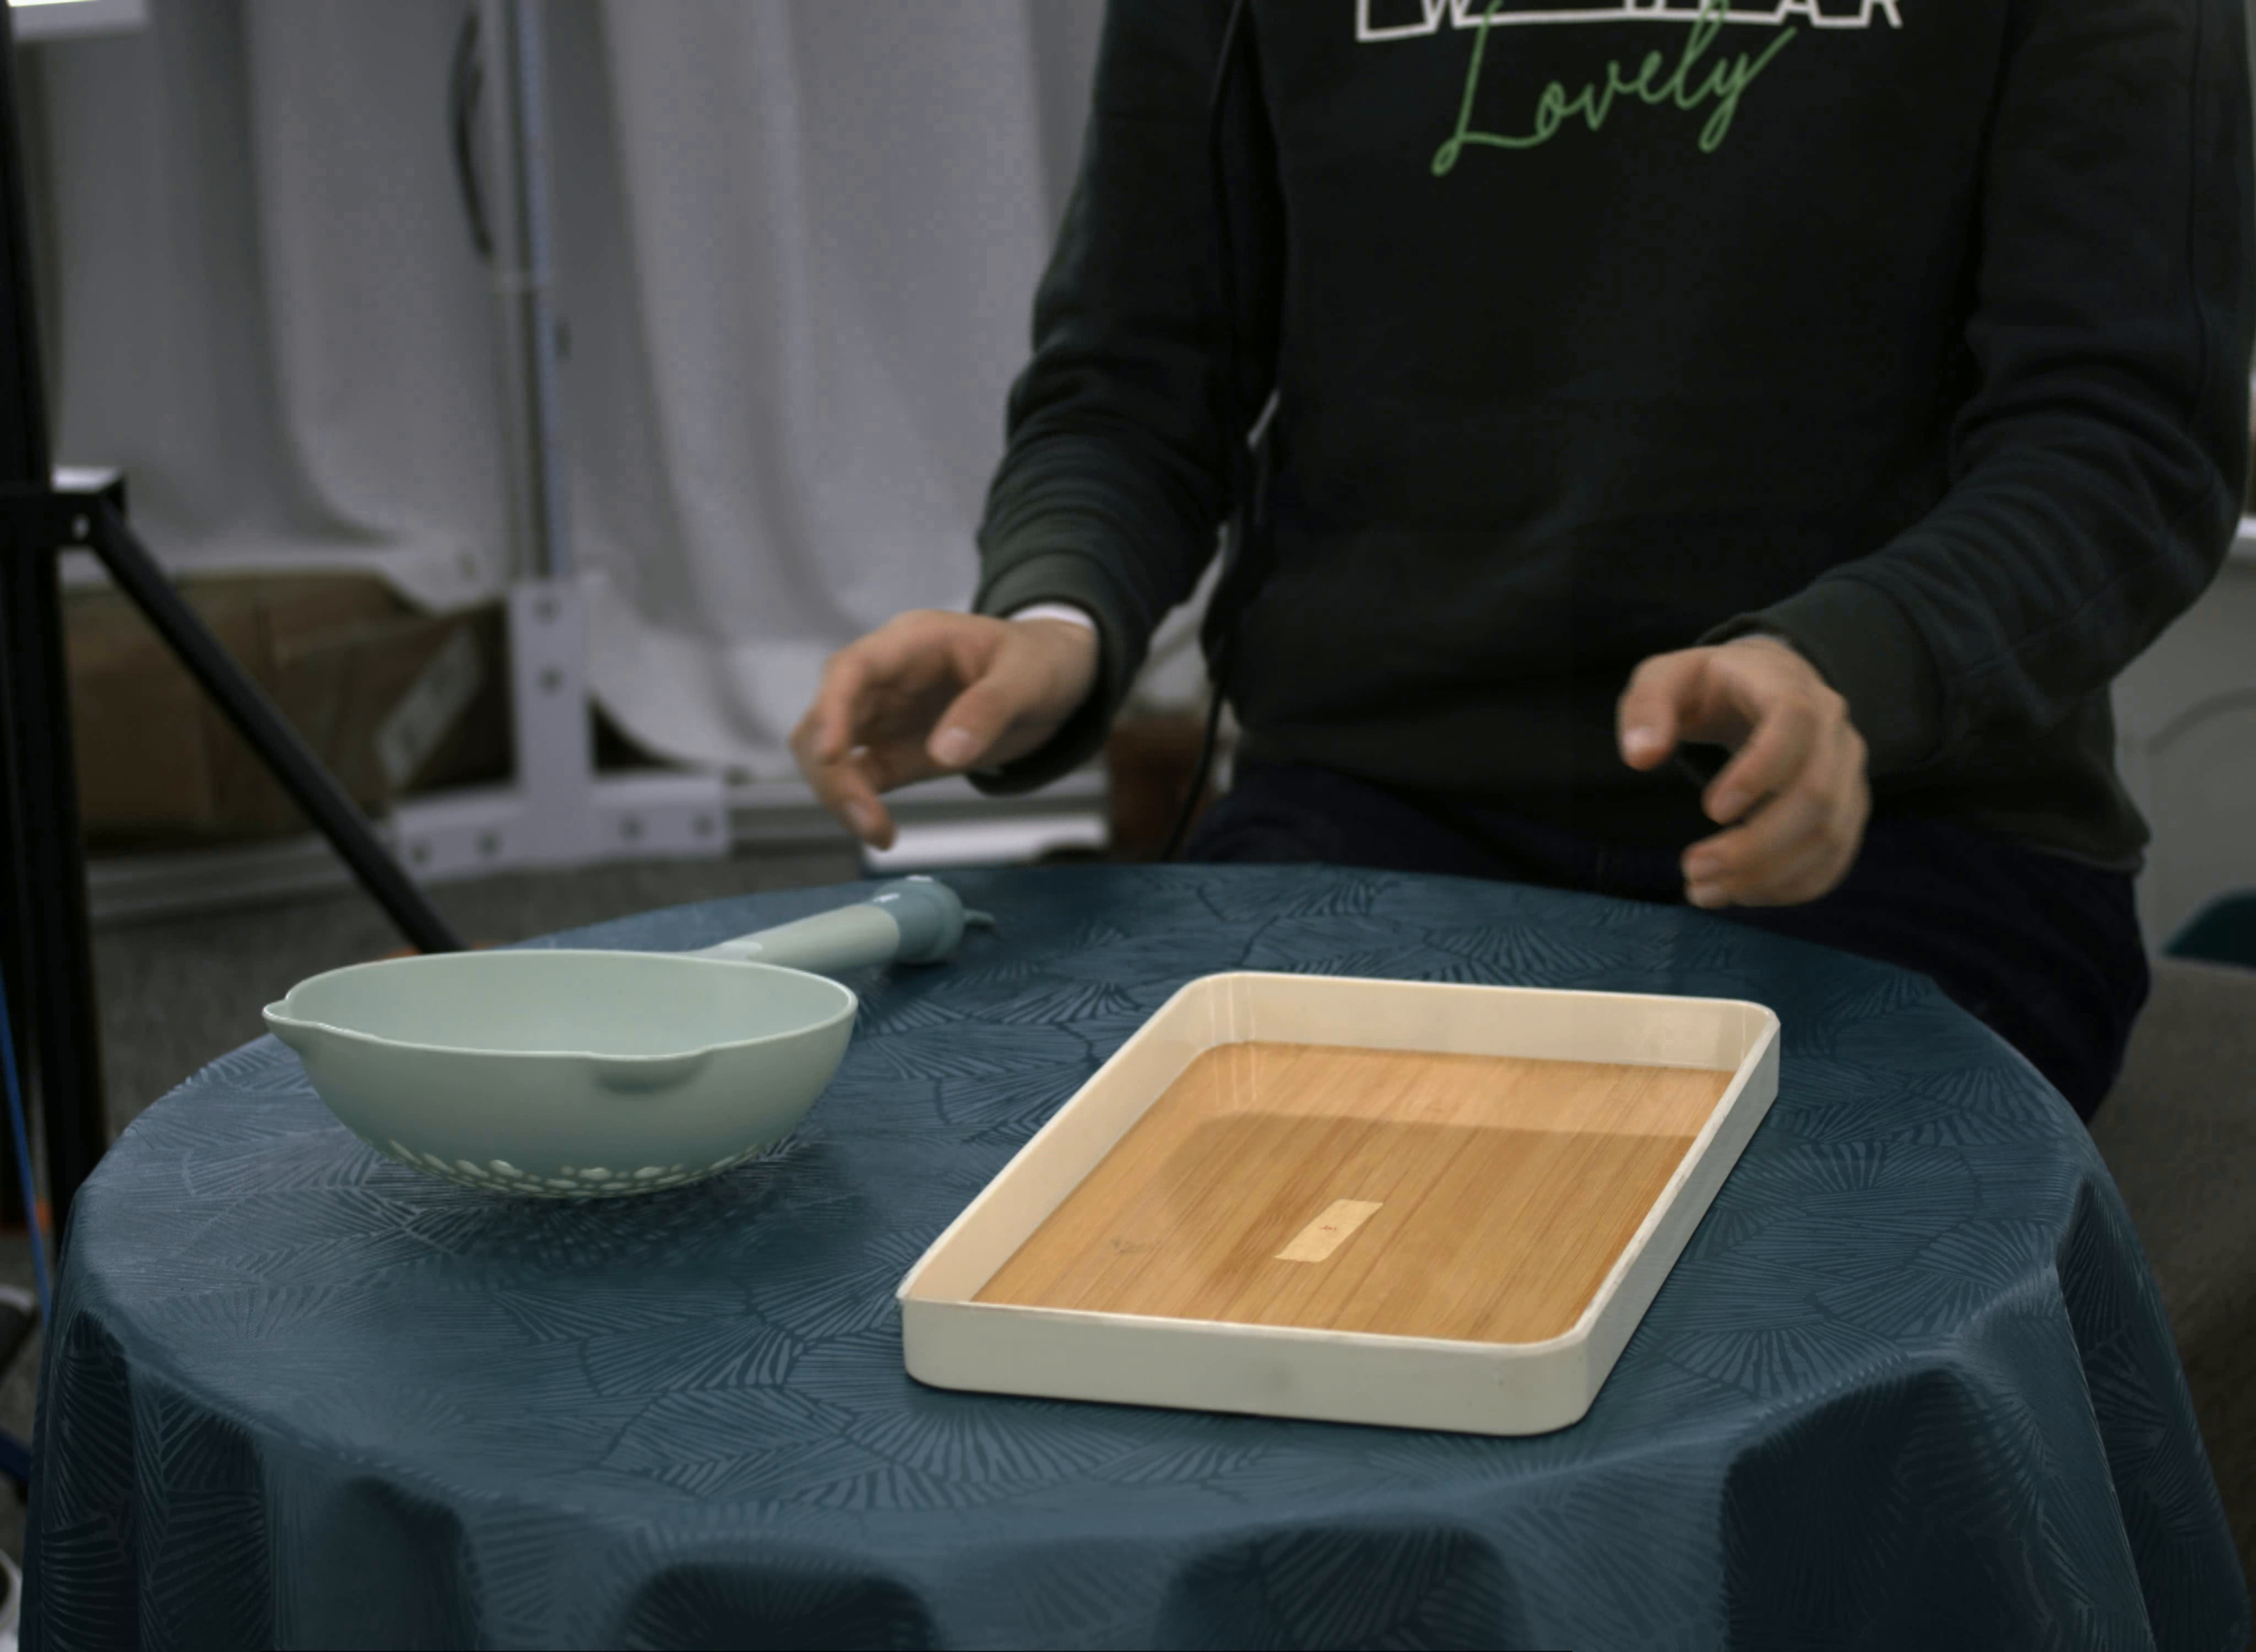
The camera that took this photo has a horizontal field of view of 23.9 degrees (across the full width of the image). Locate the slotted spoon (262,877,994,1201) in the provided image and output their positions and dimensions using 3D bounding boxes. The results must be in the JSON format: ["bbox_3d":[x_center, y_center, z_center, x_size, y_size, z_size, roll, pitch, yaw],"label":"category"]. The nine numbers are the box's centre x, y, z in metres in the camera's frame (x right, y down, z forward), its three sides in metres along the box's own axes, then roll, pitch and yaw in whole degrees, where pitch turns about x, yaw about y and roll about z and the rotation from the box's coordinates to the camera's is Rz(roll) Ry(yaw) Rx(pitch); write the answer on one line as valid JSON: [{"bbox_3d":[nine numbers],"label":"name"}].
[{"bbox_3d":[-0.125,0.051,1.663,0.172,0.075,0.353,5,18,24],"label":"slotted spoon"}]

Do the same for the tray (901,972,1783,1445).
[{"bbox_3d":[0.069,0.103,1.515,0.193,0.027,0.297,3,17,18],"label":"tray"}]
